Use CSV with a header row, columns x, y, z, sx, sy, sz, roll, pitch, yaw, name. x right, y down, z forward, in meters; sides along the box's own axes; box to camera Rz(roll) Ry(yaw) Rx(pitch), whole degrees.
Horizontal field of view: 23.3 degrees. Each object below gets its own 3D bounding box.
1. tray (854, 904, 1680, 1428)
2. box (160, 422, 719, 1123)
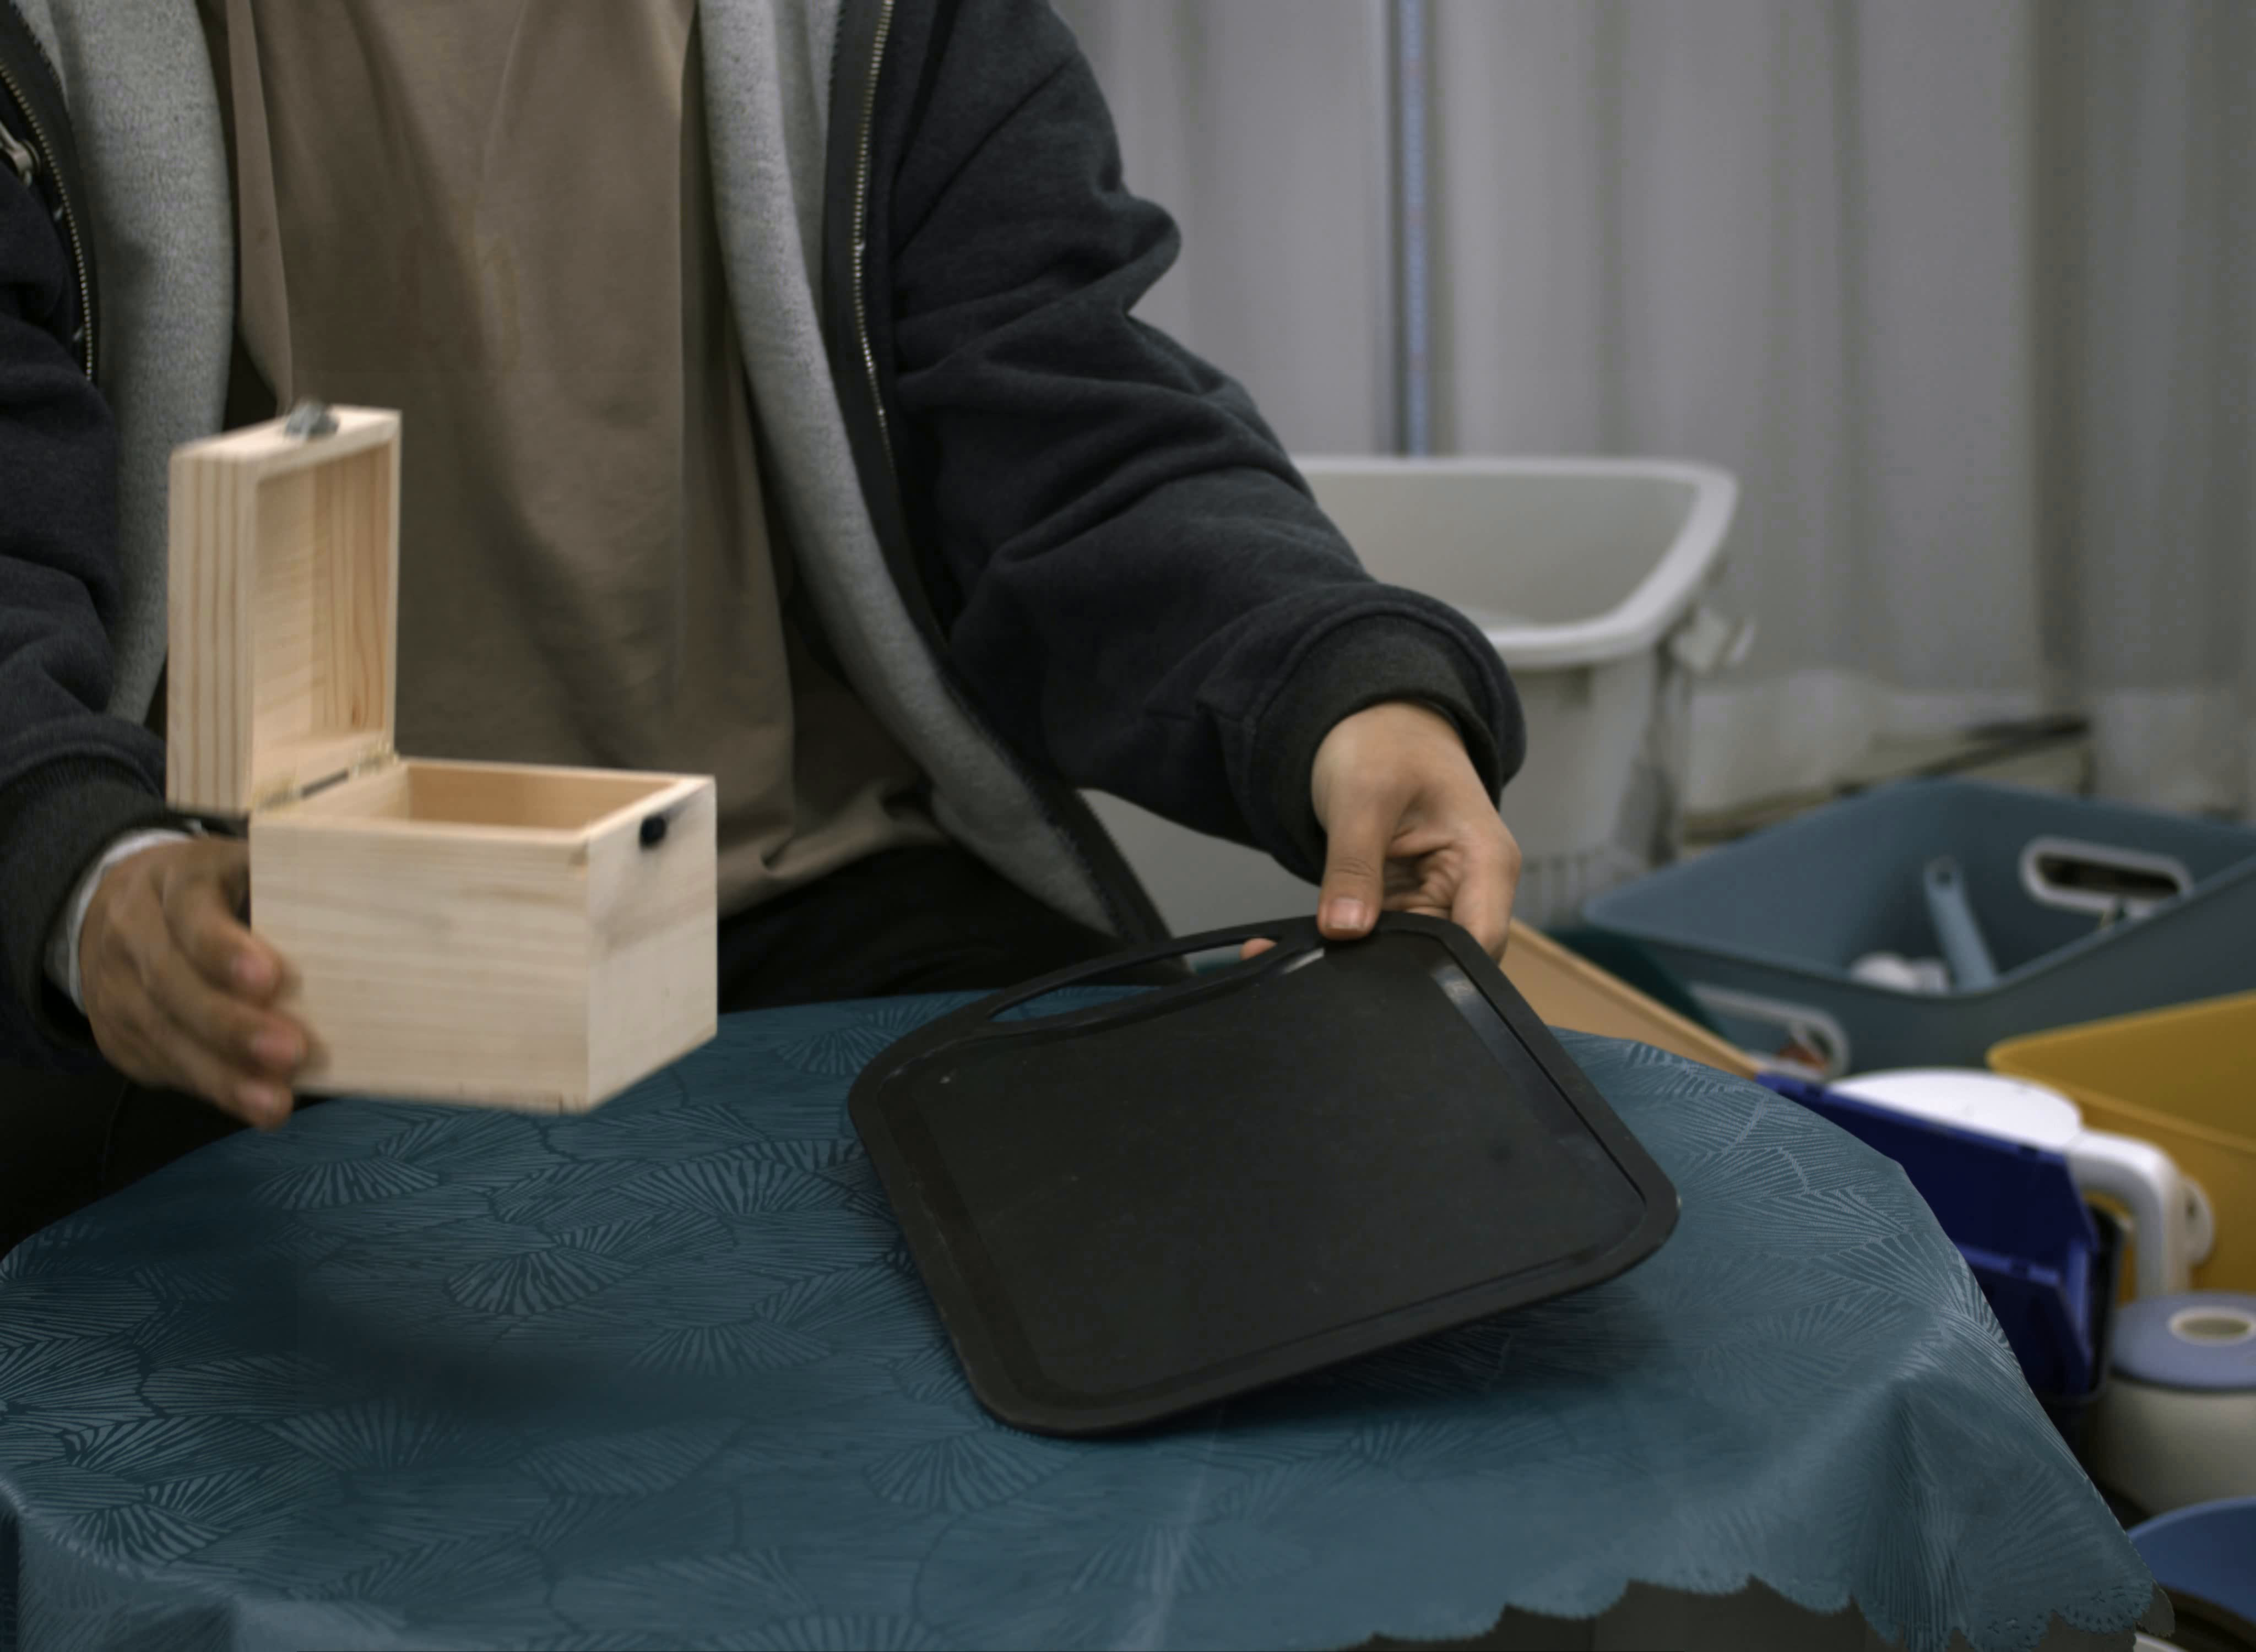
x,y,z,sx,sy,sz,roll,pitch,yaw,name
0.032,0.093,1.662,0.210,0.010,0.328,-15,22,-7,tray
-0.191,-0.019,1.553,0.134,0.184,0.103,2,10,16,box
